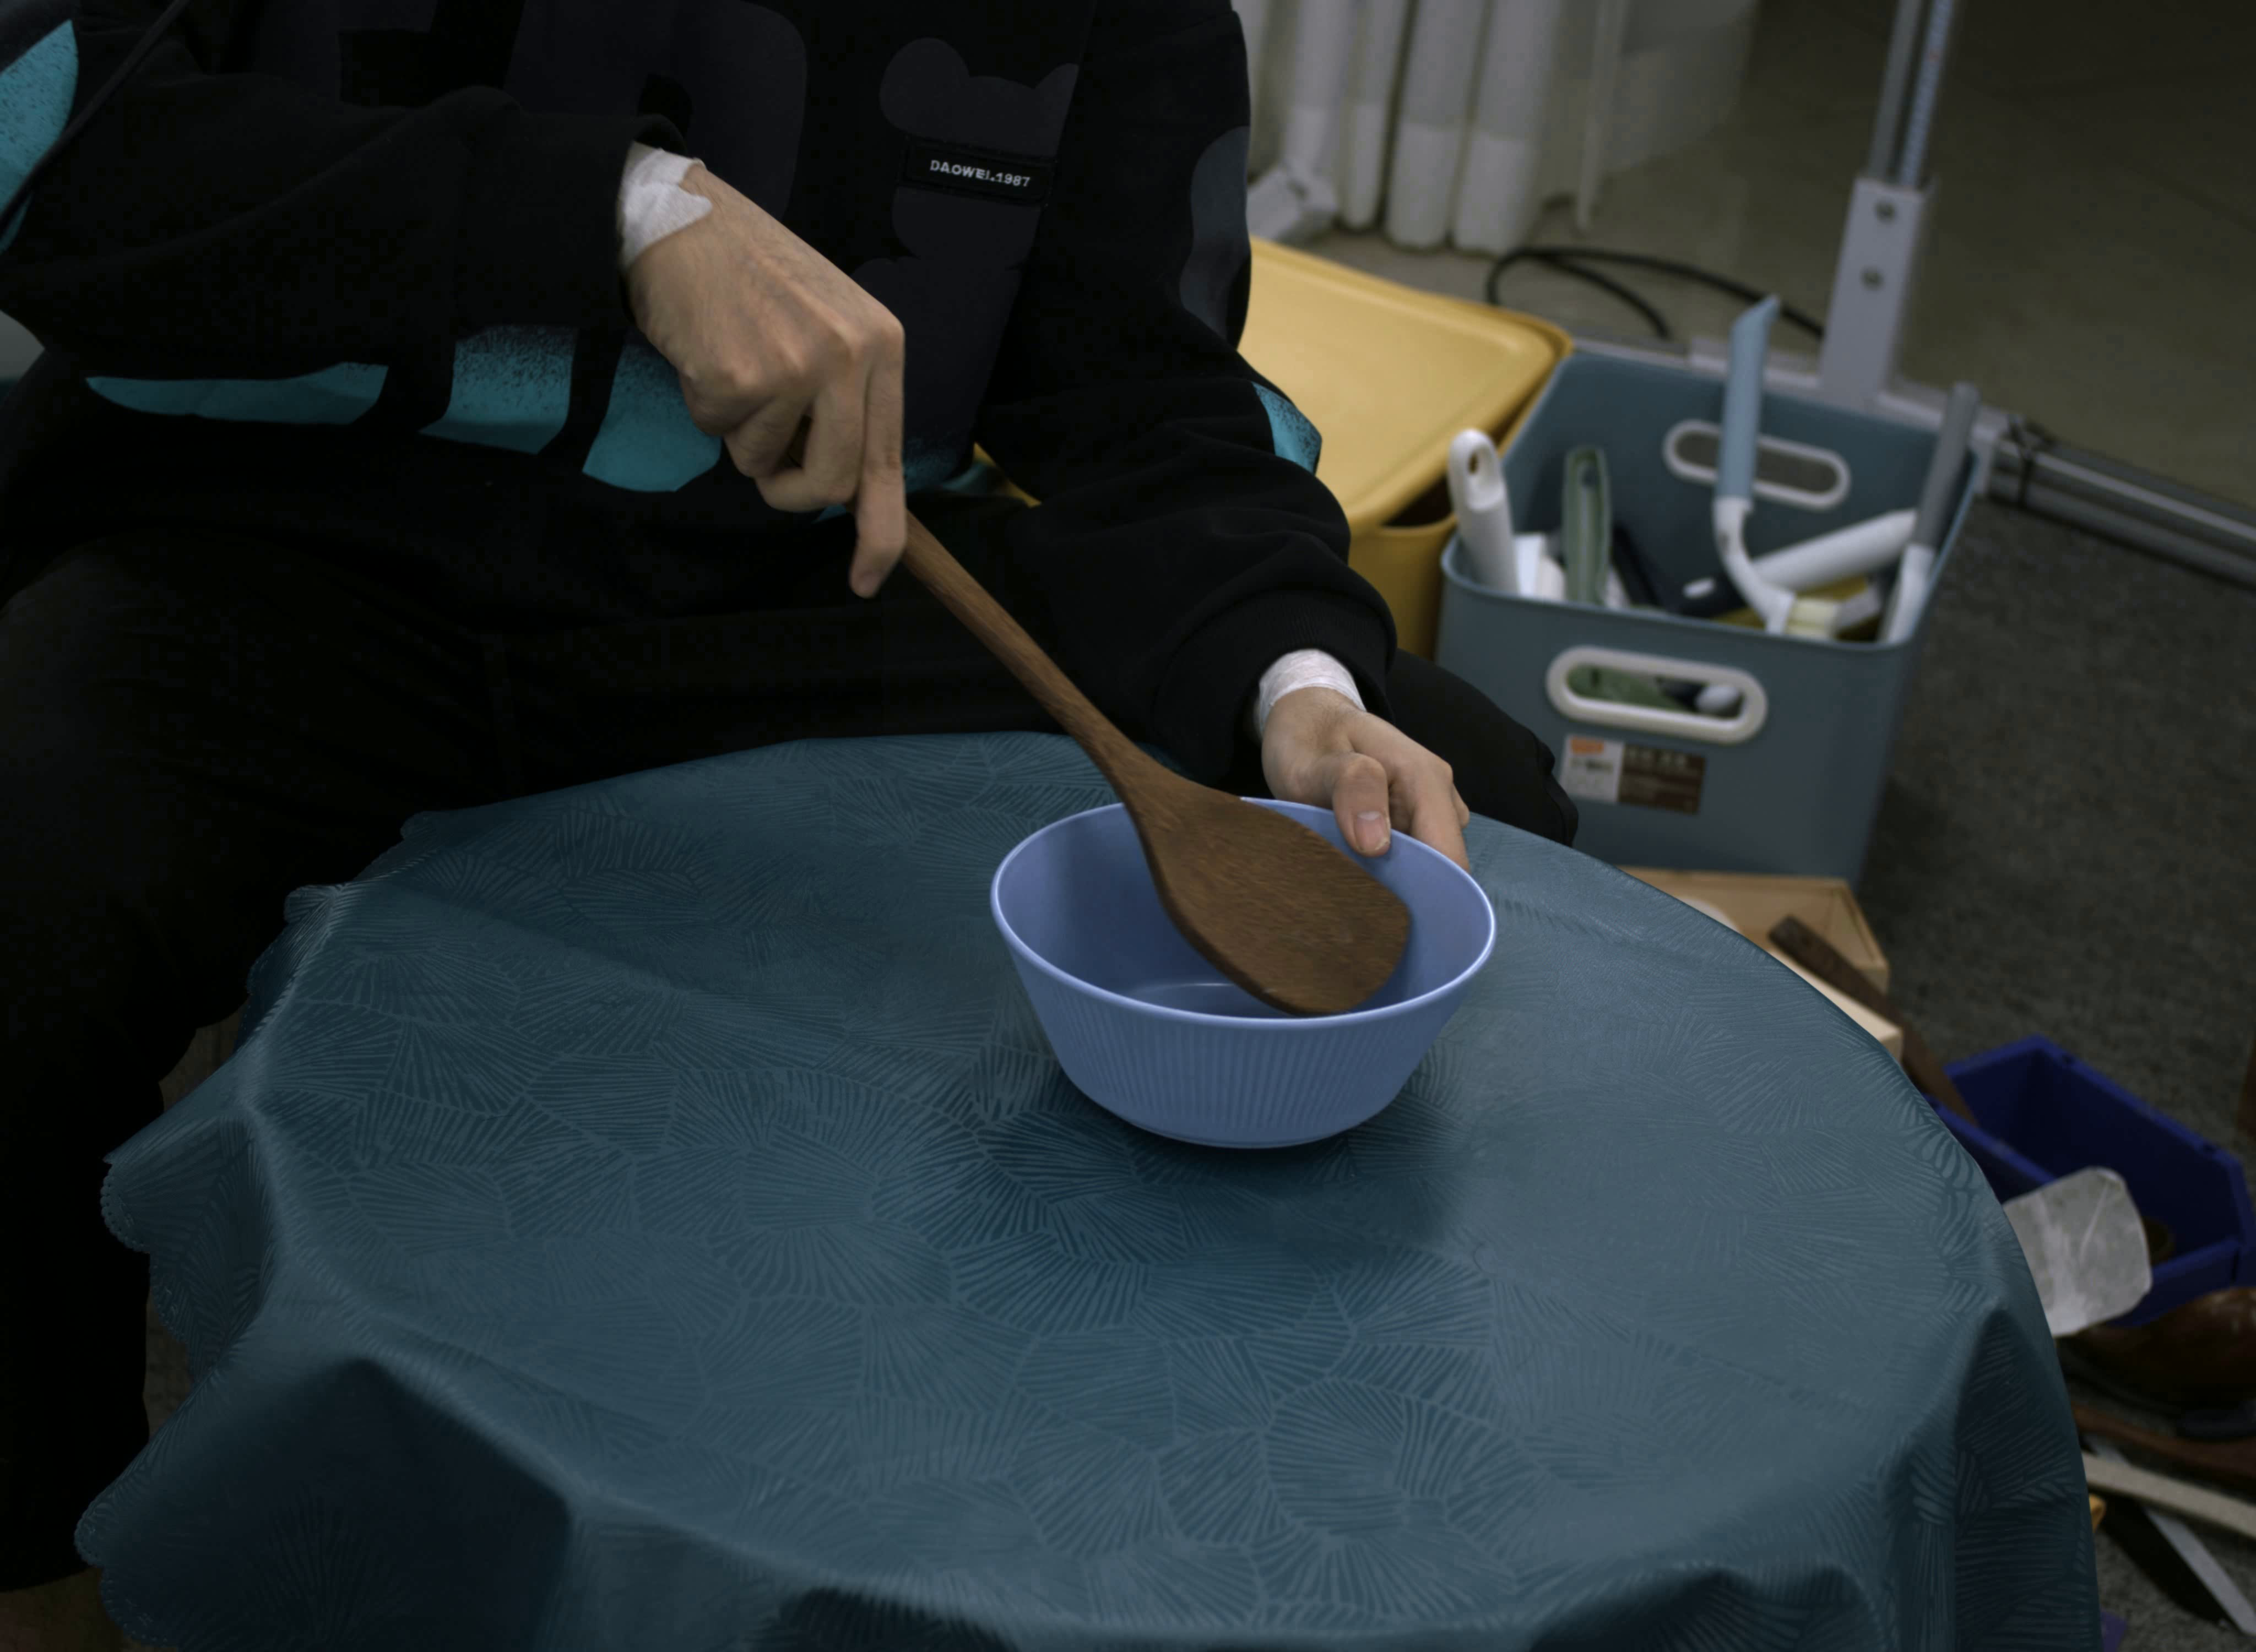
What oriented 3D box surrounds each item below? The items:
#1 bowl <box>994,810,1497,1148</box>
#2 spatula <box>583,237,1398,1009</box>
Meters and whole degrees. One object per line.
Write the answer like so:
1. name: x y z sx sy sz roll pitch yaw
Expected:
1. bowl: 0.039 0.058 1.852 0.175 0.070 0.177 3 23 -2
2. spatula: -0.054 -0.075 1.878 0.386 0.016 0.096 45 37 5
